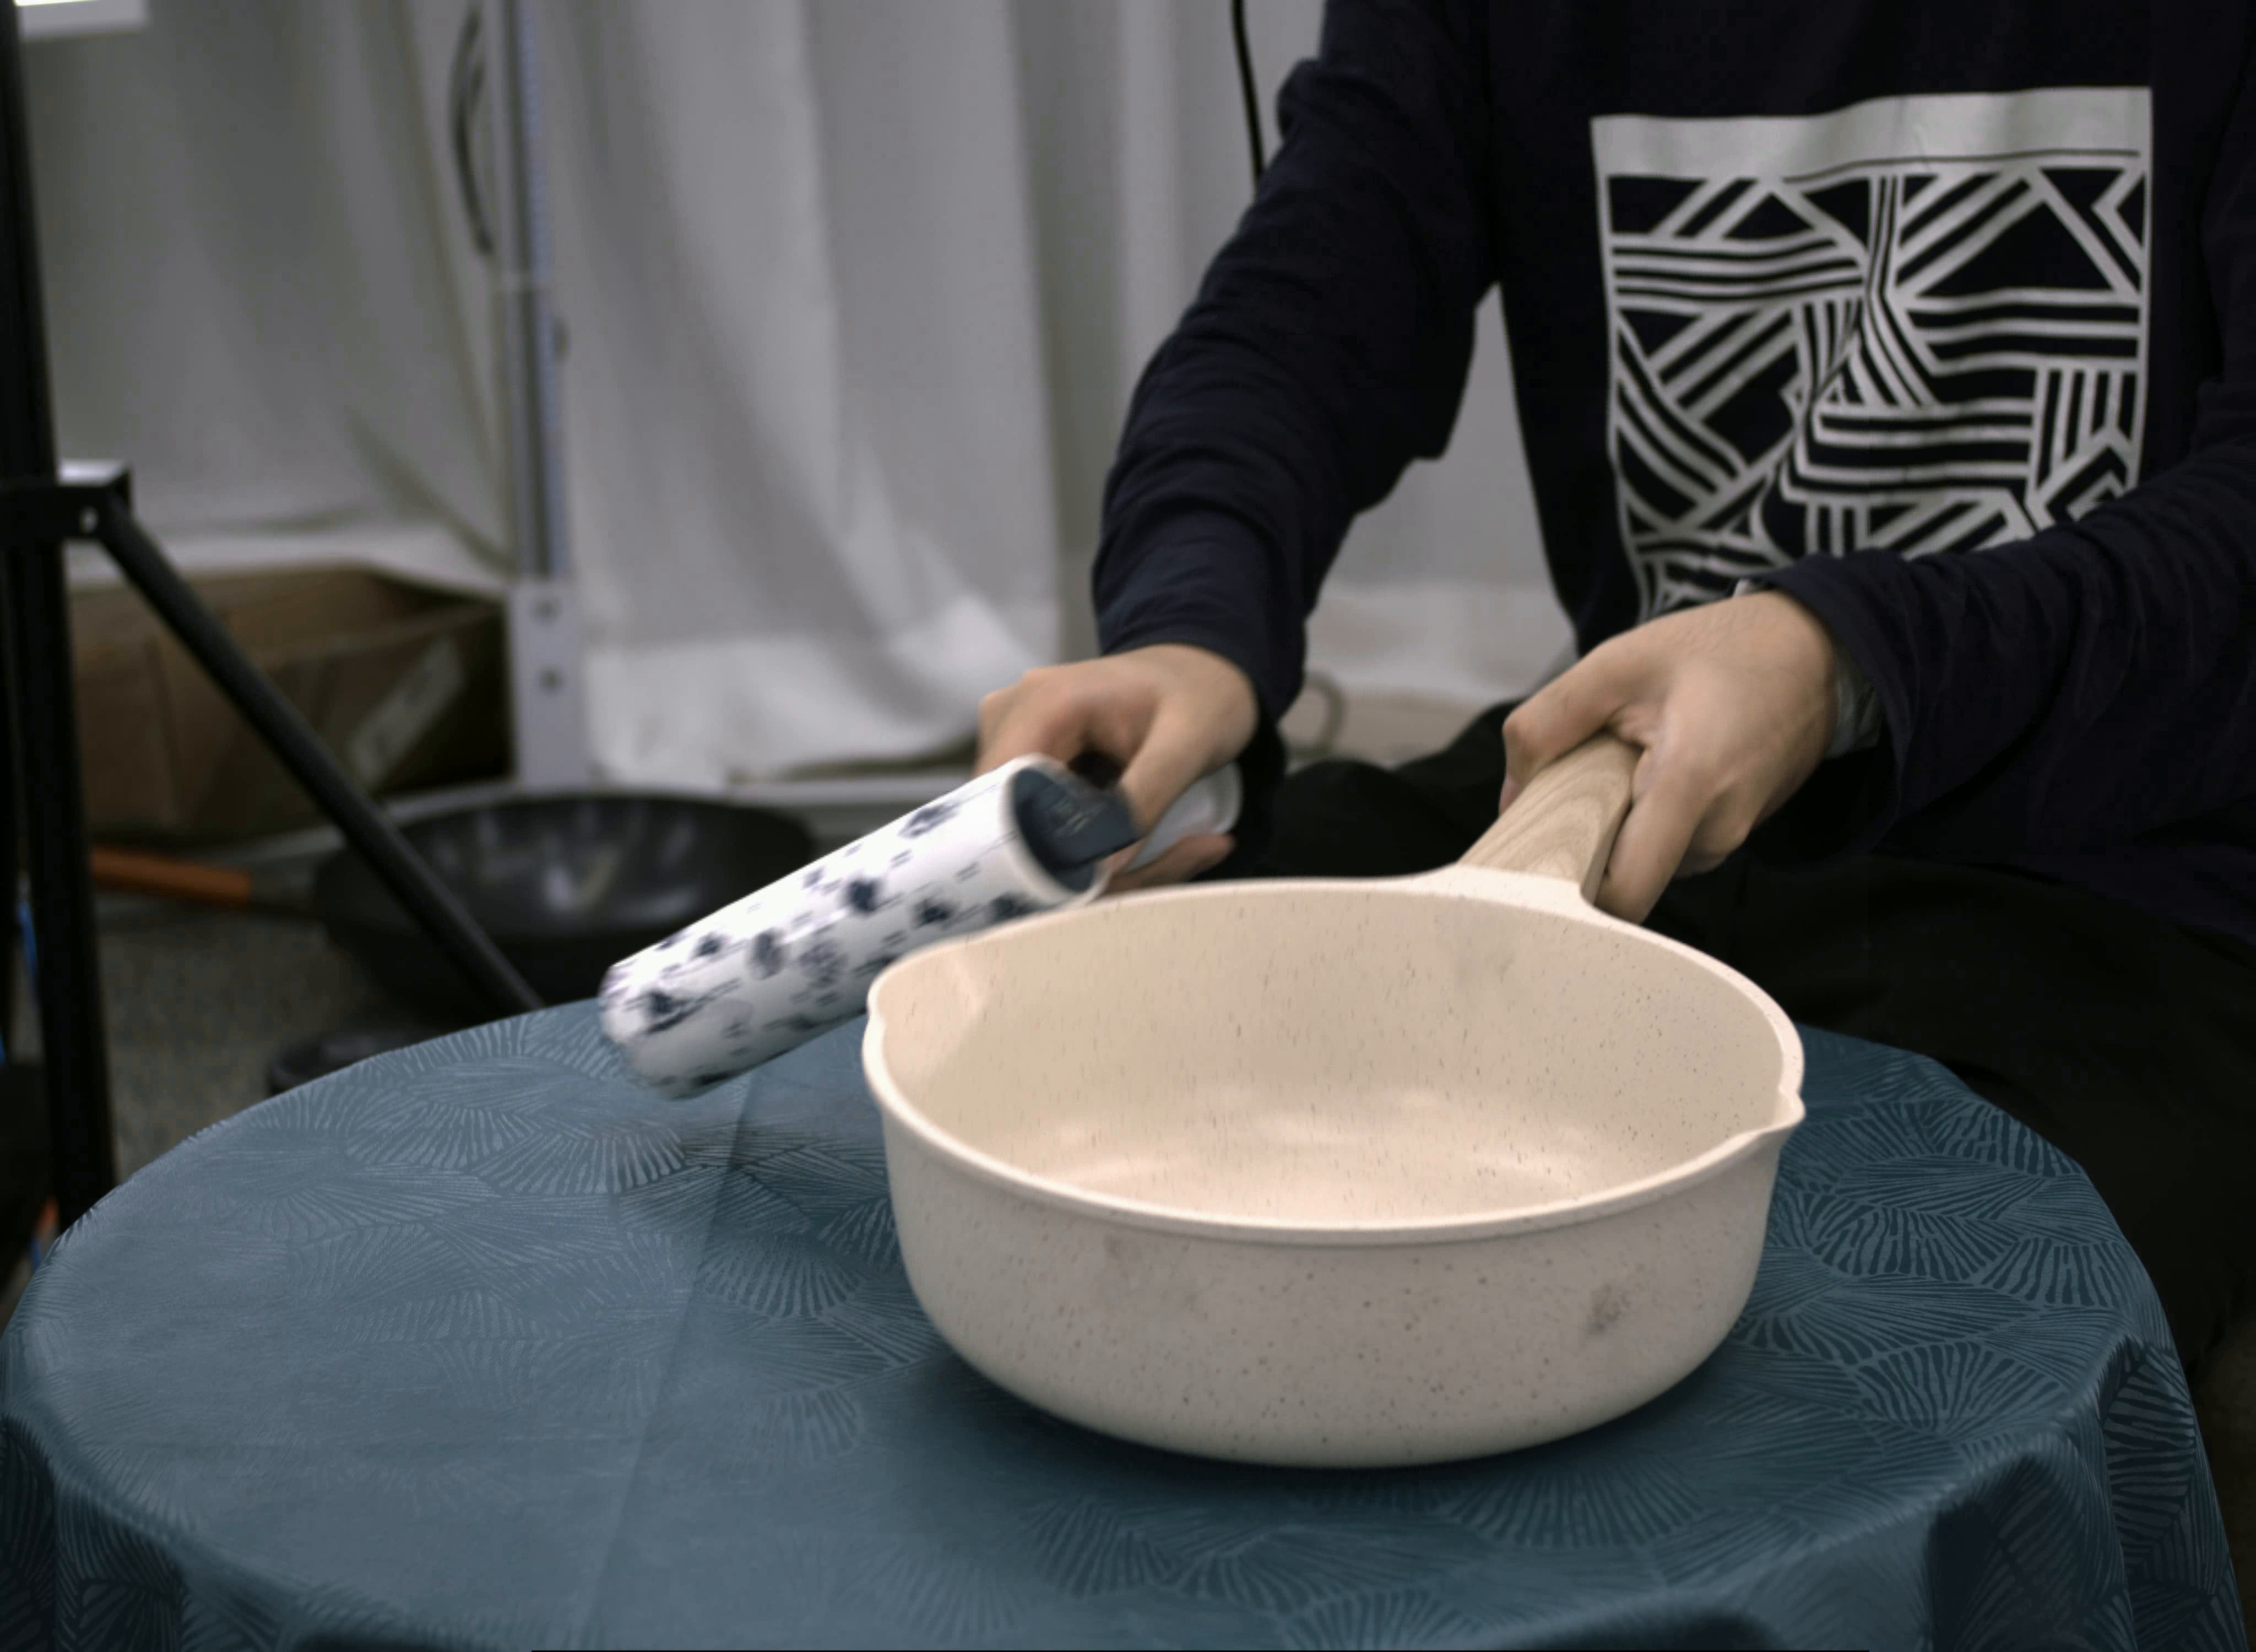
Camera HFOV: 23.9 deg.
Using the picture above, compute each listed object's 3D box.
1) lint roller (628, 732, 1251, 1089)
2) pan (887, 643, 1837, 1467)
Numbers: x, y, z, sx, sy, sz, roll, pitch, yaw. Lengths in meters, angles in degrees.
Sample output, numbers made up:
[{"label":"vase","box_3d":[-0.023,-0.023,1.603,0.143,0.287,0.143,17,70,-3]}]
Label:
[{"label":"lint roller","box_3d":[-0.029,0.008,1.655,0.178,0.050,0.242,-28,-3,31]},{"label":"pan","box_3d":[0.095,0.058,1.498,0.267,0.102,0.429,8,21,22]}]
